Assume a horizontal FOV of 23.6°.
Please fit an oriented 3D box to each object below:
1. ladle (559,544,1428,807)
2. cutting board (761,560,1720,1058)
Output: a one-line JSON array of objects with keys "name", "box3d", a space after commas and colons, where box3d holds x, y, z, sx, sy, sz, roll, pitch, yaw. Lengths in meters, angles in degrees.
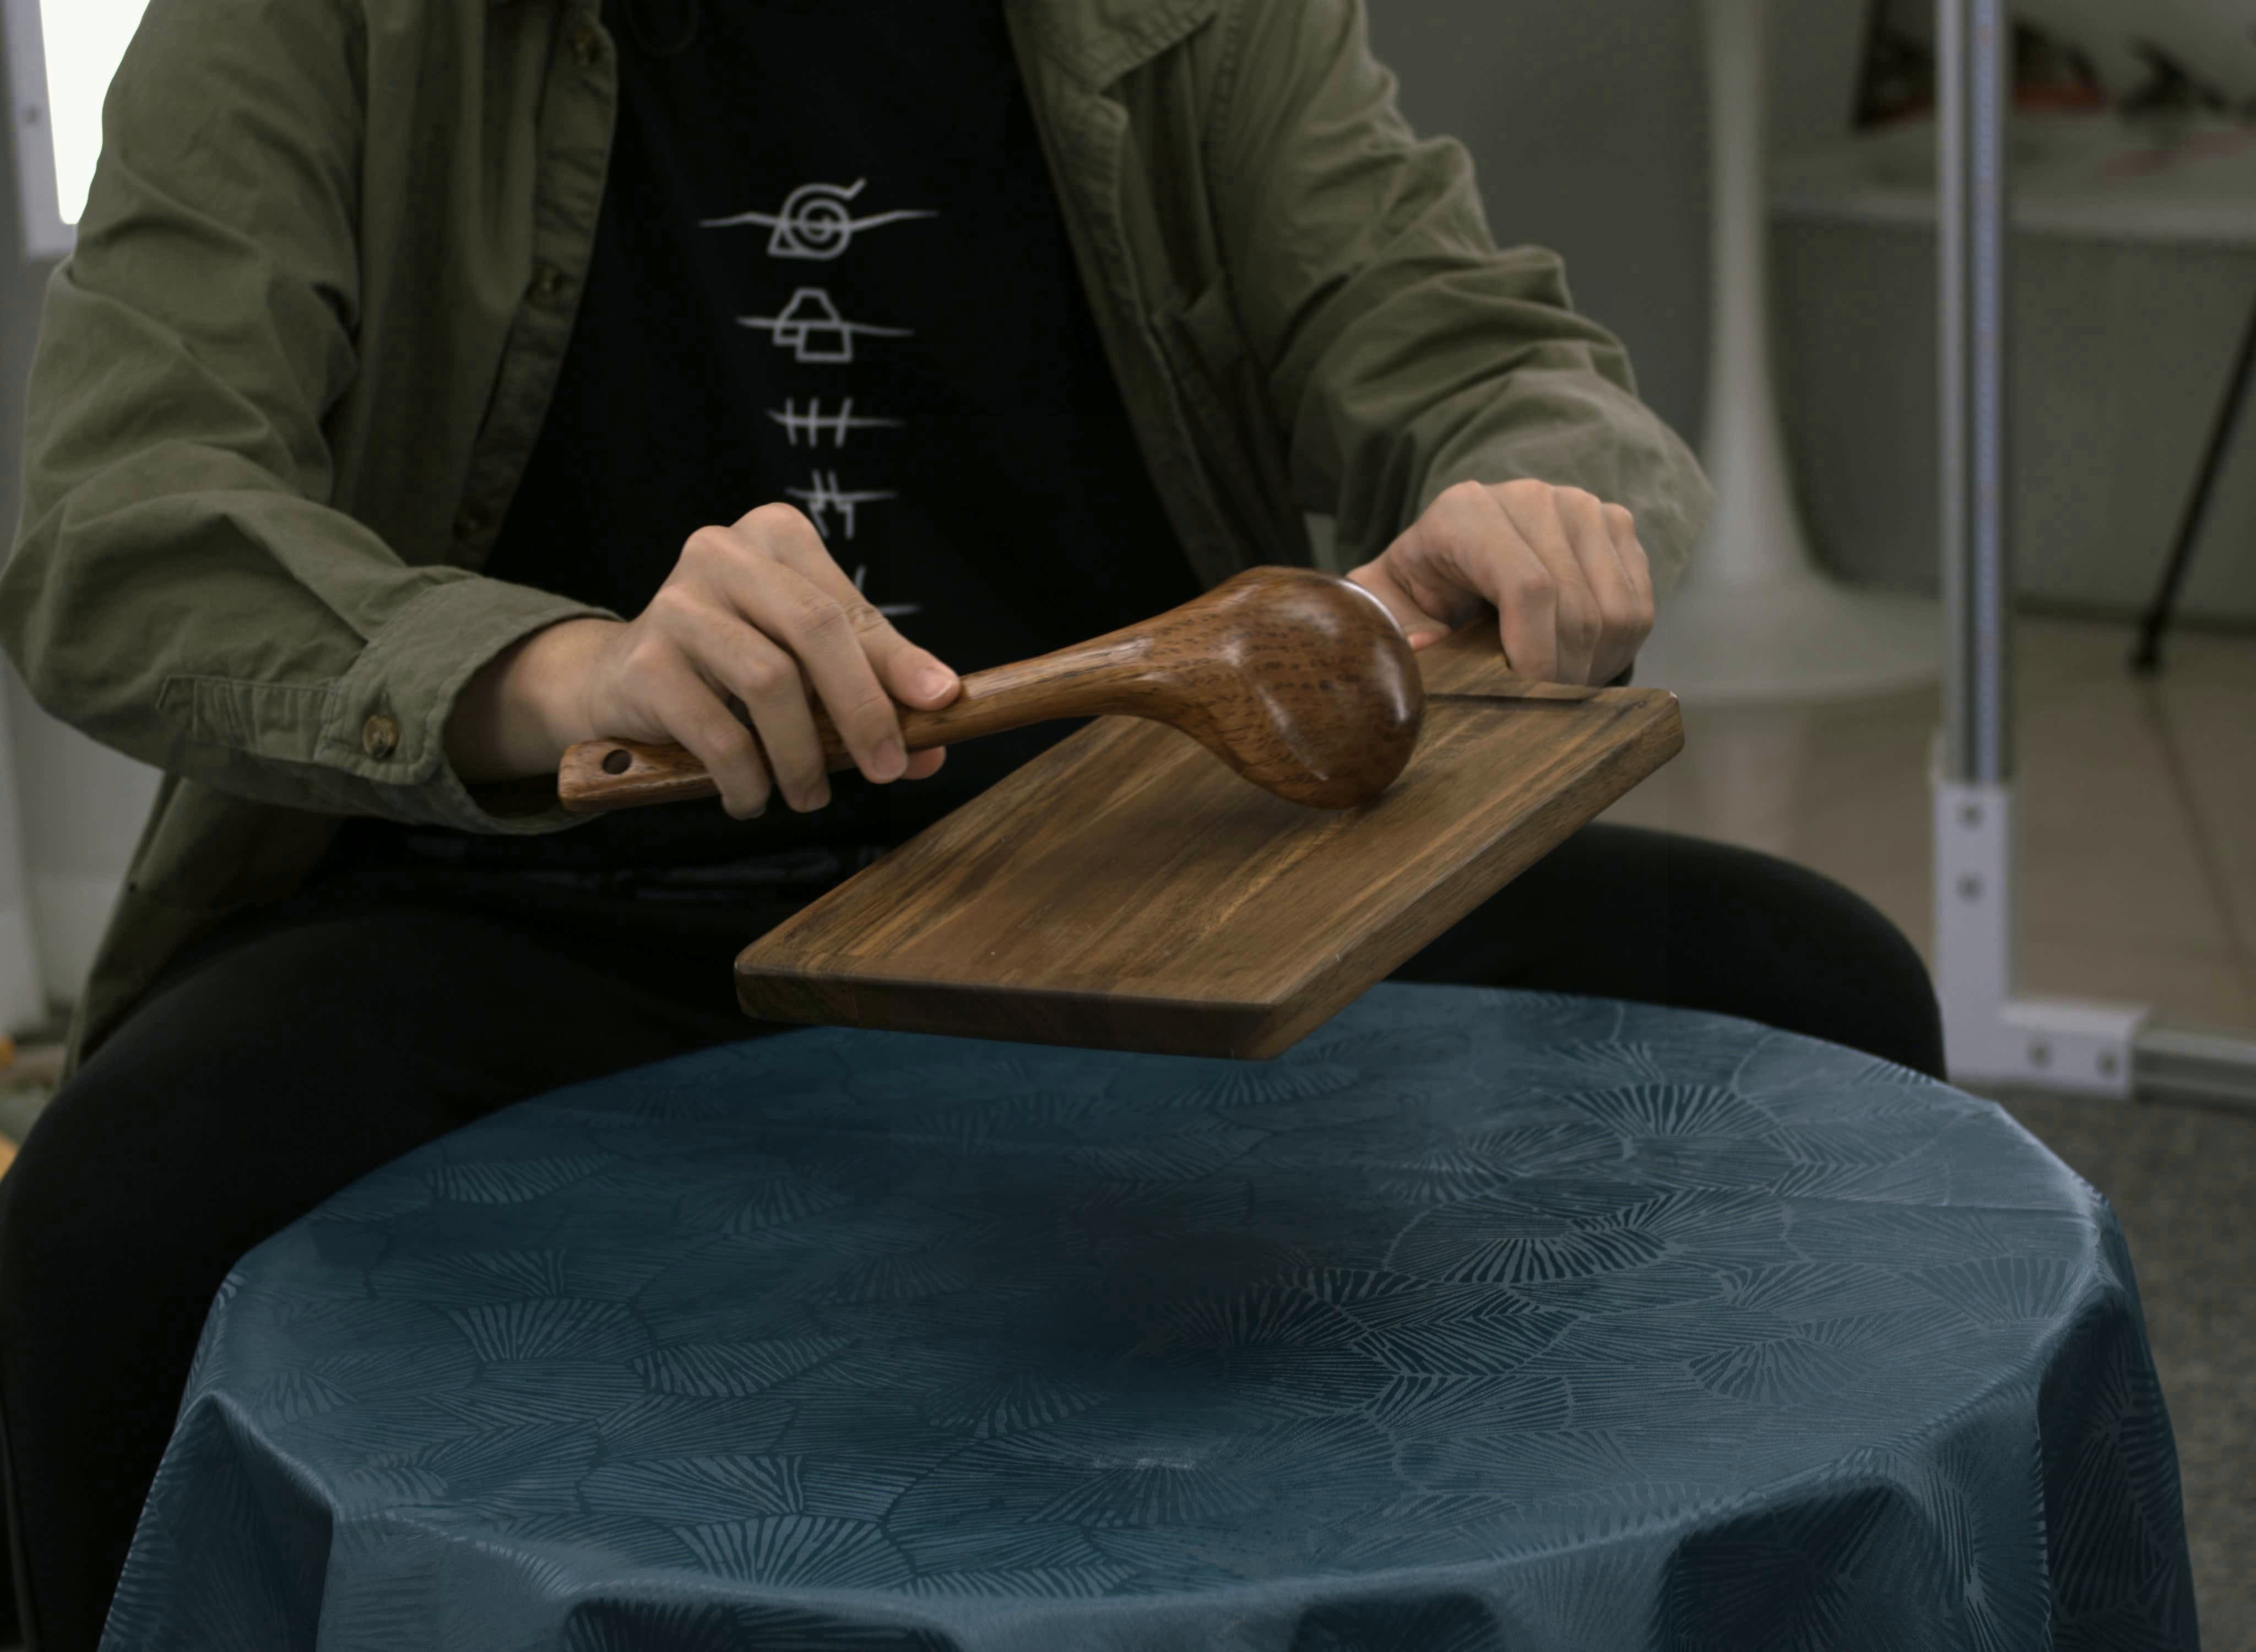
[{"name": "ladle", "box3d": [-0.040, -0.029, 1.673, 0.274, 0.076, 0.082, -12, 52, 22]}, {"name": "cutting board", "box3d": [0.065, -0.013, 1.656, 0.202, 0.023, 0.347, 3, 24, 38]}]
